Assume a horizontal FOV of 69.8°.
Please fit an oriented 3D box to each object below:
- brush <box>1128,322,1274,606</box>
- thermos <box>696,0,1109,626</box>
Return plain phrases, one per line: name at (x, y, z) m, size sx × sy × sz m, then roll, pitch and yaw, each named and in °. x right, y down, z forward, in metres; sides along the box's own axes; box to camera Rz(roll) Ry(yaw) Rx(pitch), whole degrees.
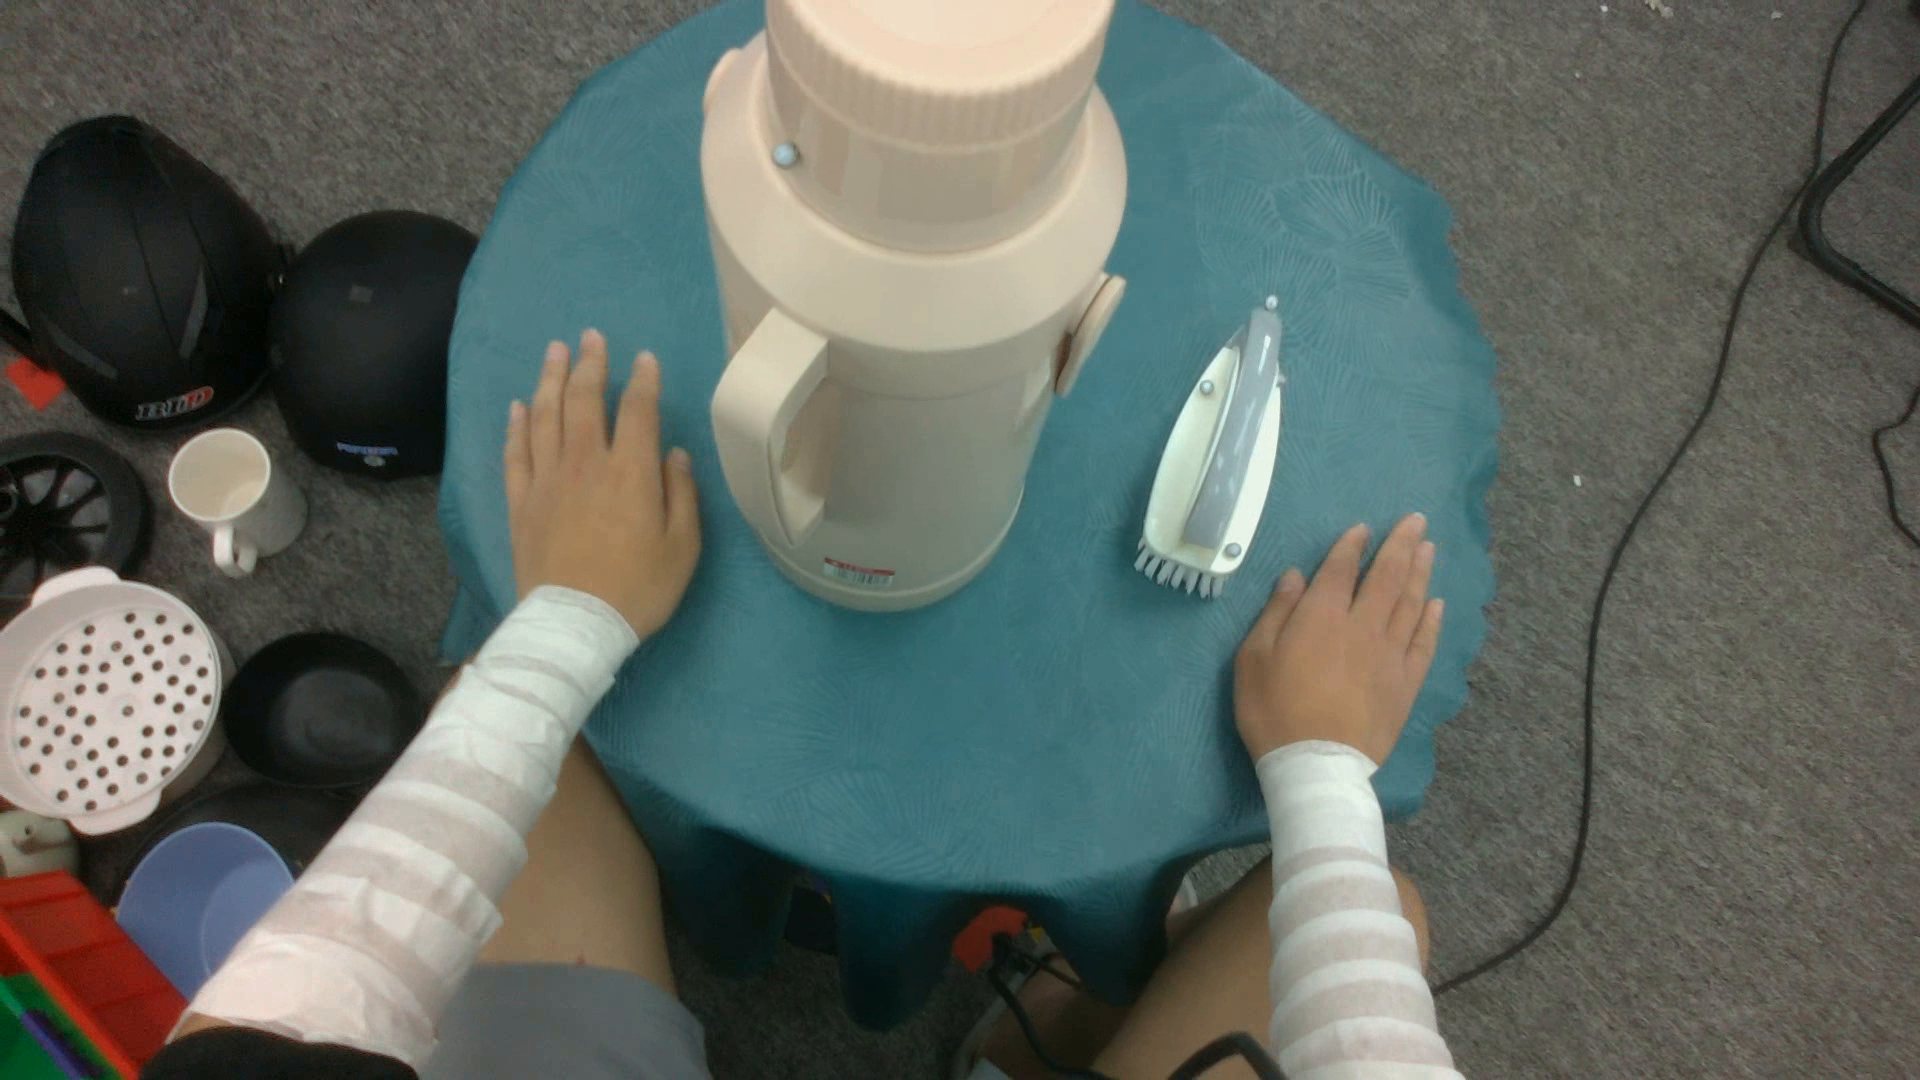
brush at (0.149, -0.058, 0.779) m, size 0.061 × 0.094 × 0.176 m, roll 20°, pitch 67°, yaw 0°
thermos at (-0.038, -0.084, 0.609) m, size 0.175 × 0.405 × 0.208 m, roll 29°, pitch 69°, yaw 5°
